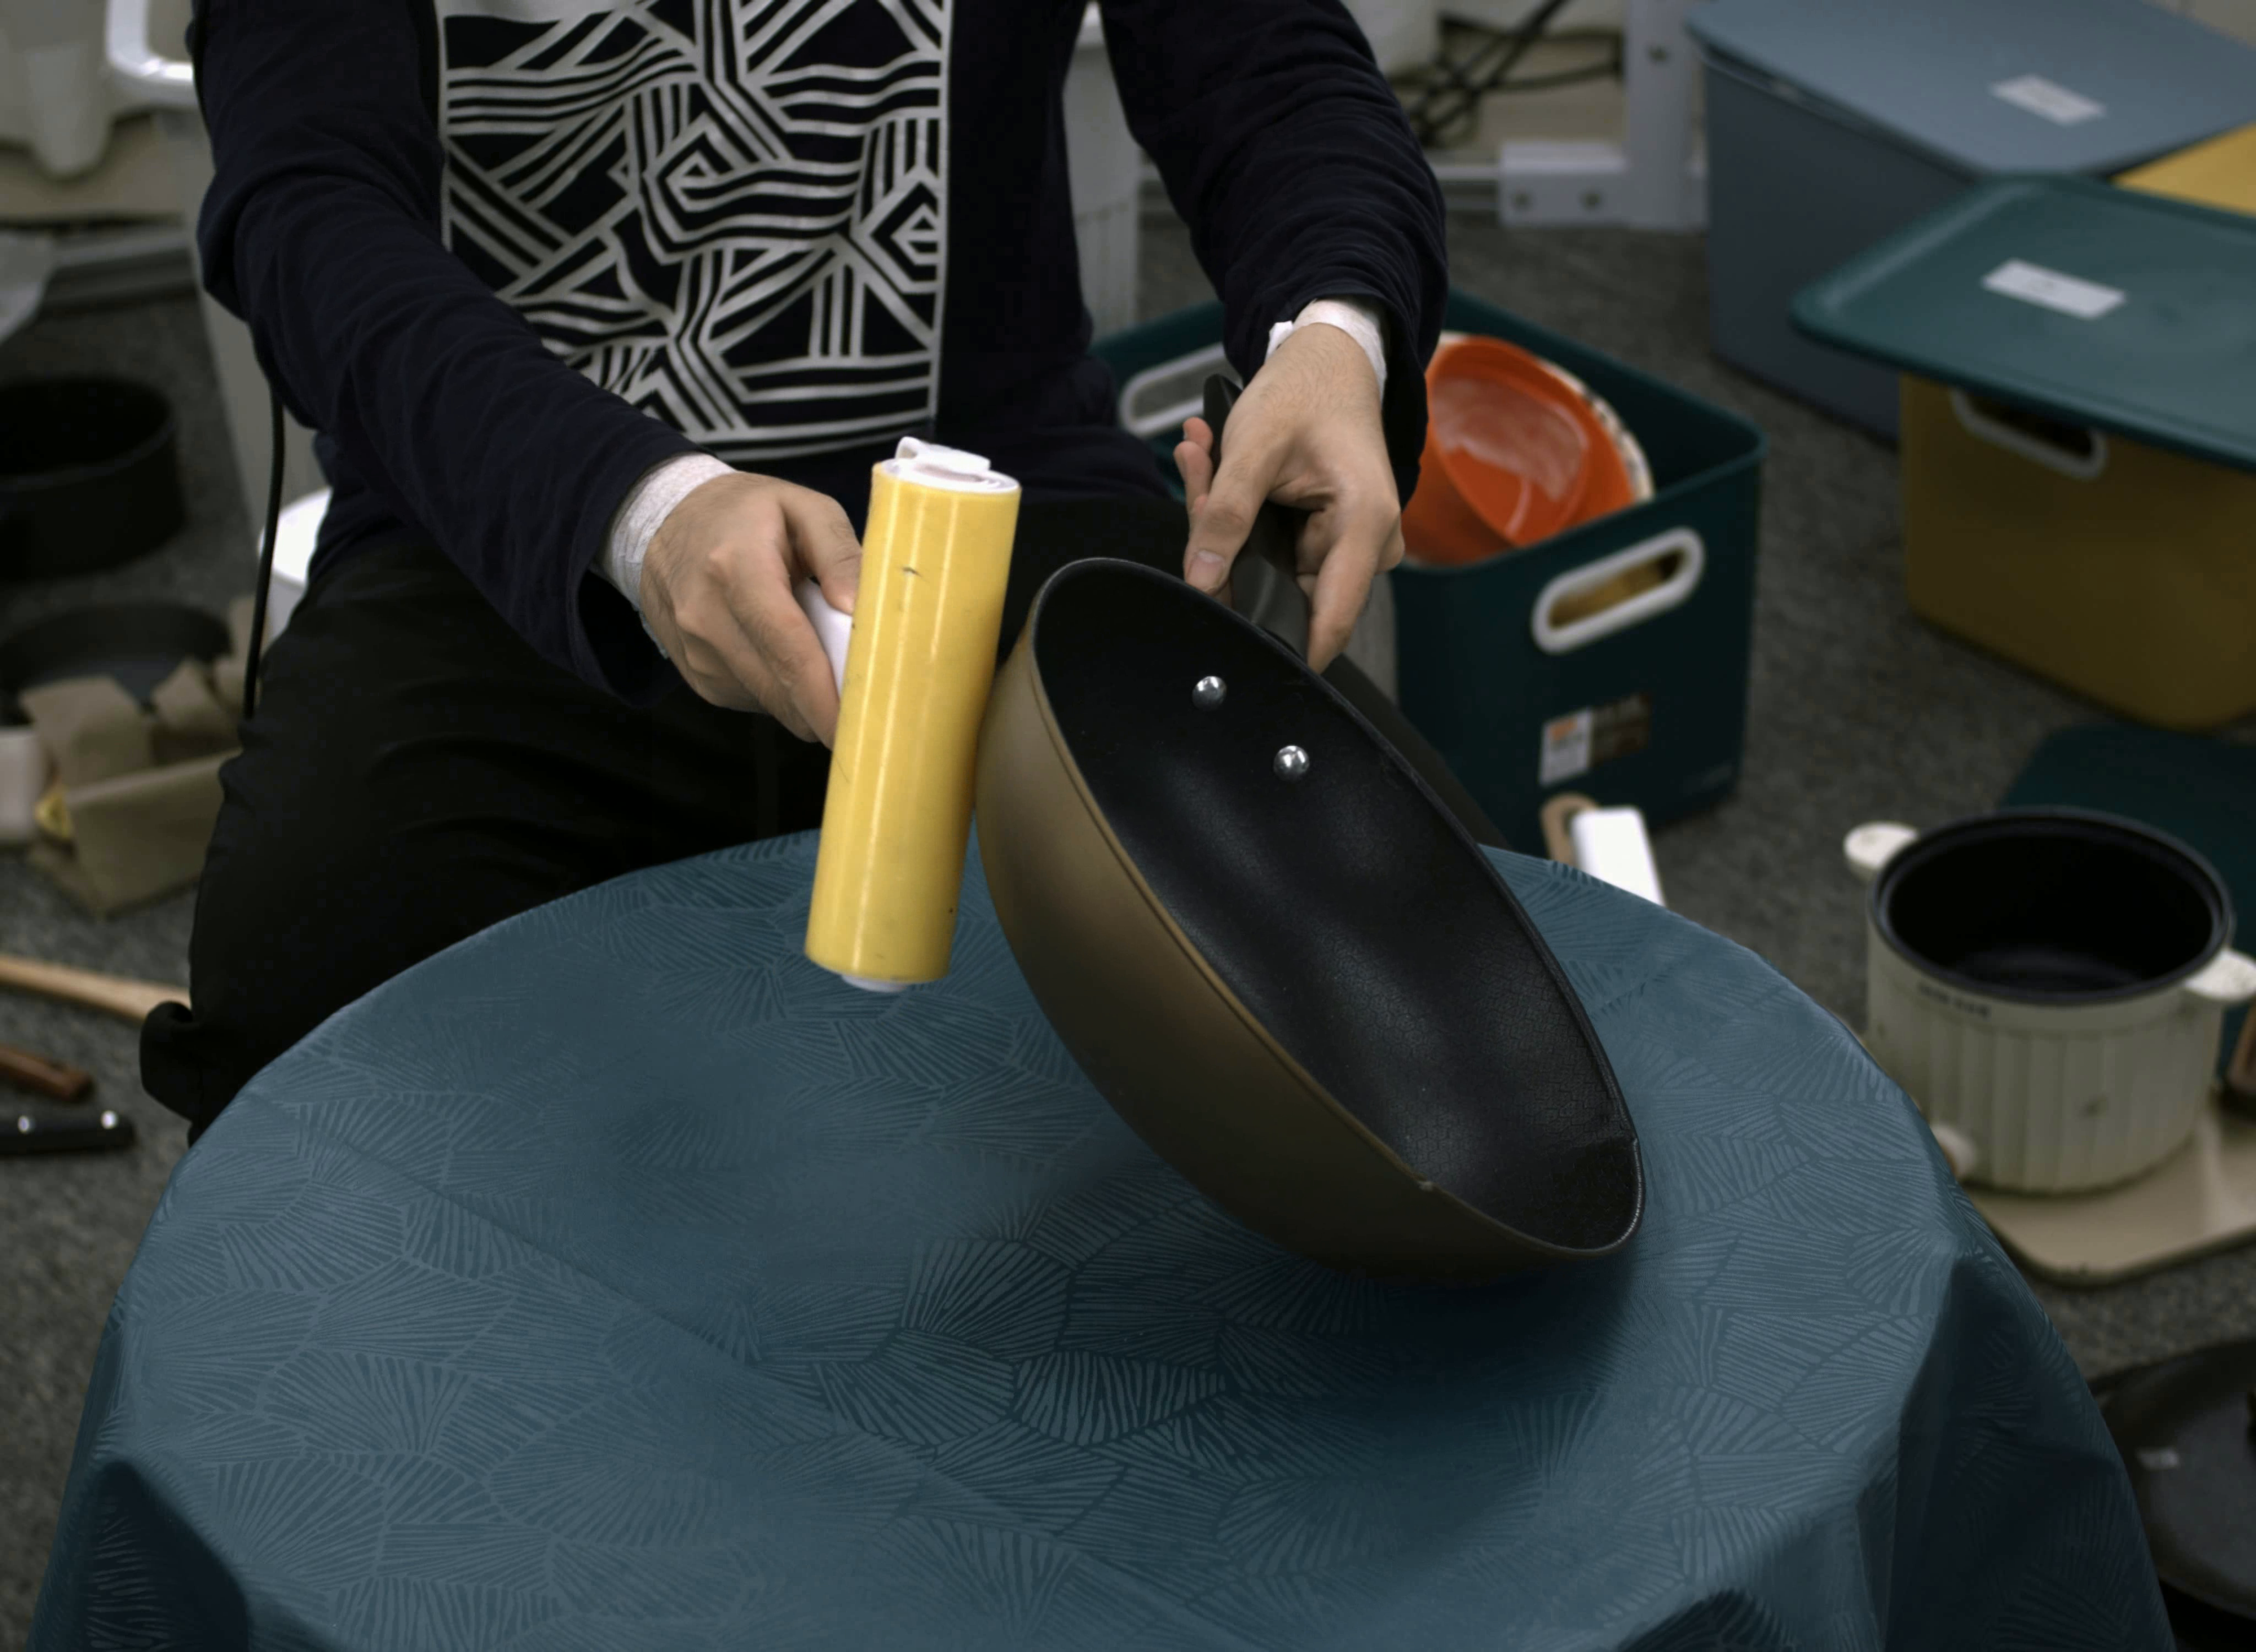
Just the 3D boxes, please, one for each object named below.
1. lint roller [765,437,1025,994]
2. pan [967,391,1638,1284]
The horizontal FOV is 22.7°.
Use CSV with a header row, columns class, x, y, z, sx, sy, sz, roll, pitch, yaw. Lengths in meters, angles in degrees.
class,x,y,z,sx,sy,sz,roll,pitch,yaw
lint roller,-0.097,-0.050,1.843,0.051,0.174,0.192,4,11,-28
pan,0.033,-0.008,1.873,0.086,0.286,0.471,-41,29,19
